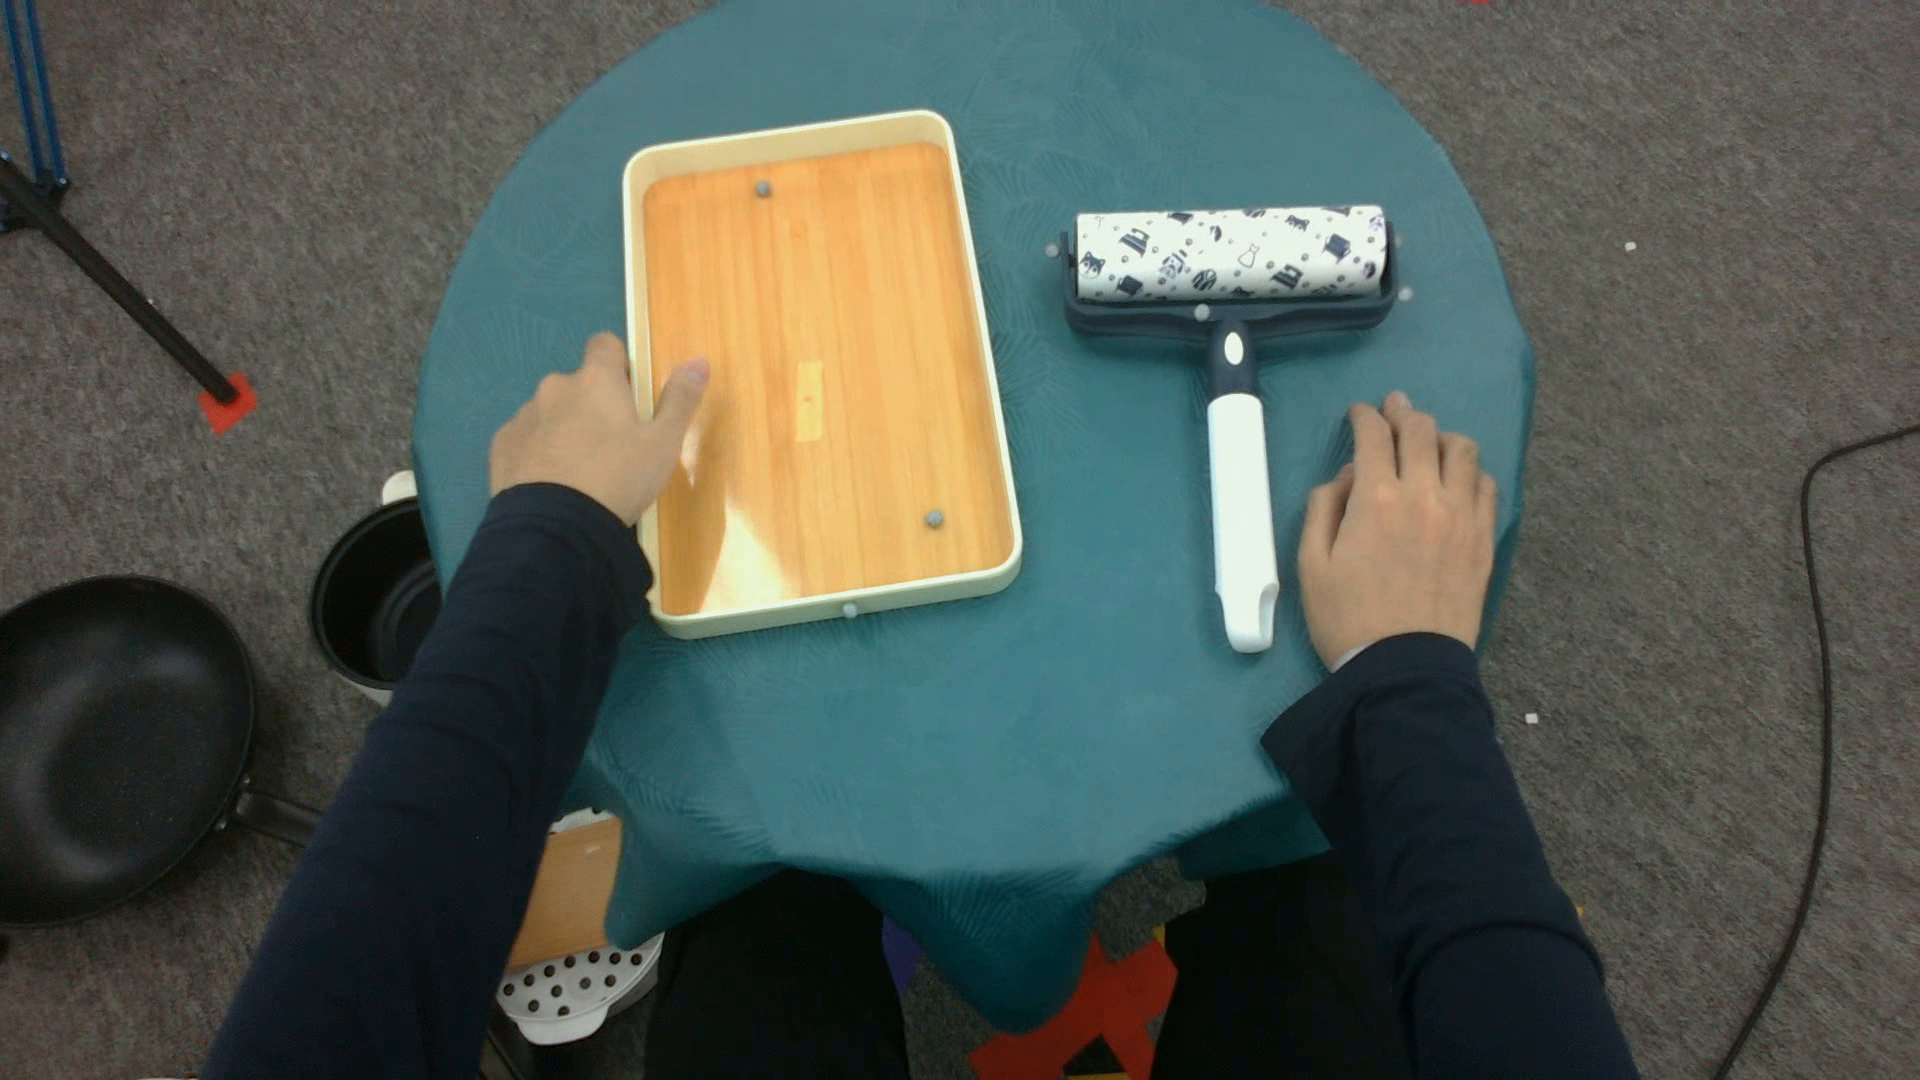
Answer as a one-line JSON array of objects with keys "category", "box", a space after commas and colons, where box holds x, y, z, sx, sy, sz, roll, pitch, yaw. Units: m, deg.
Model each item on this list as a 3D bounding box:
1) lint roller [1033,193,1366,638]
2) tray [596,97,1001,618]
[{"category": "lint roller", "box": [0.130, -0.072, 0.706, 0.176, 0.050, 0.248, -2, 66, 1]}, {"category": "tray", "box": [-0.093, -0.109, 0.739, 0.191, 0.027, 0.301, -8, 64, -4]}]
